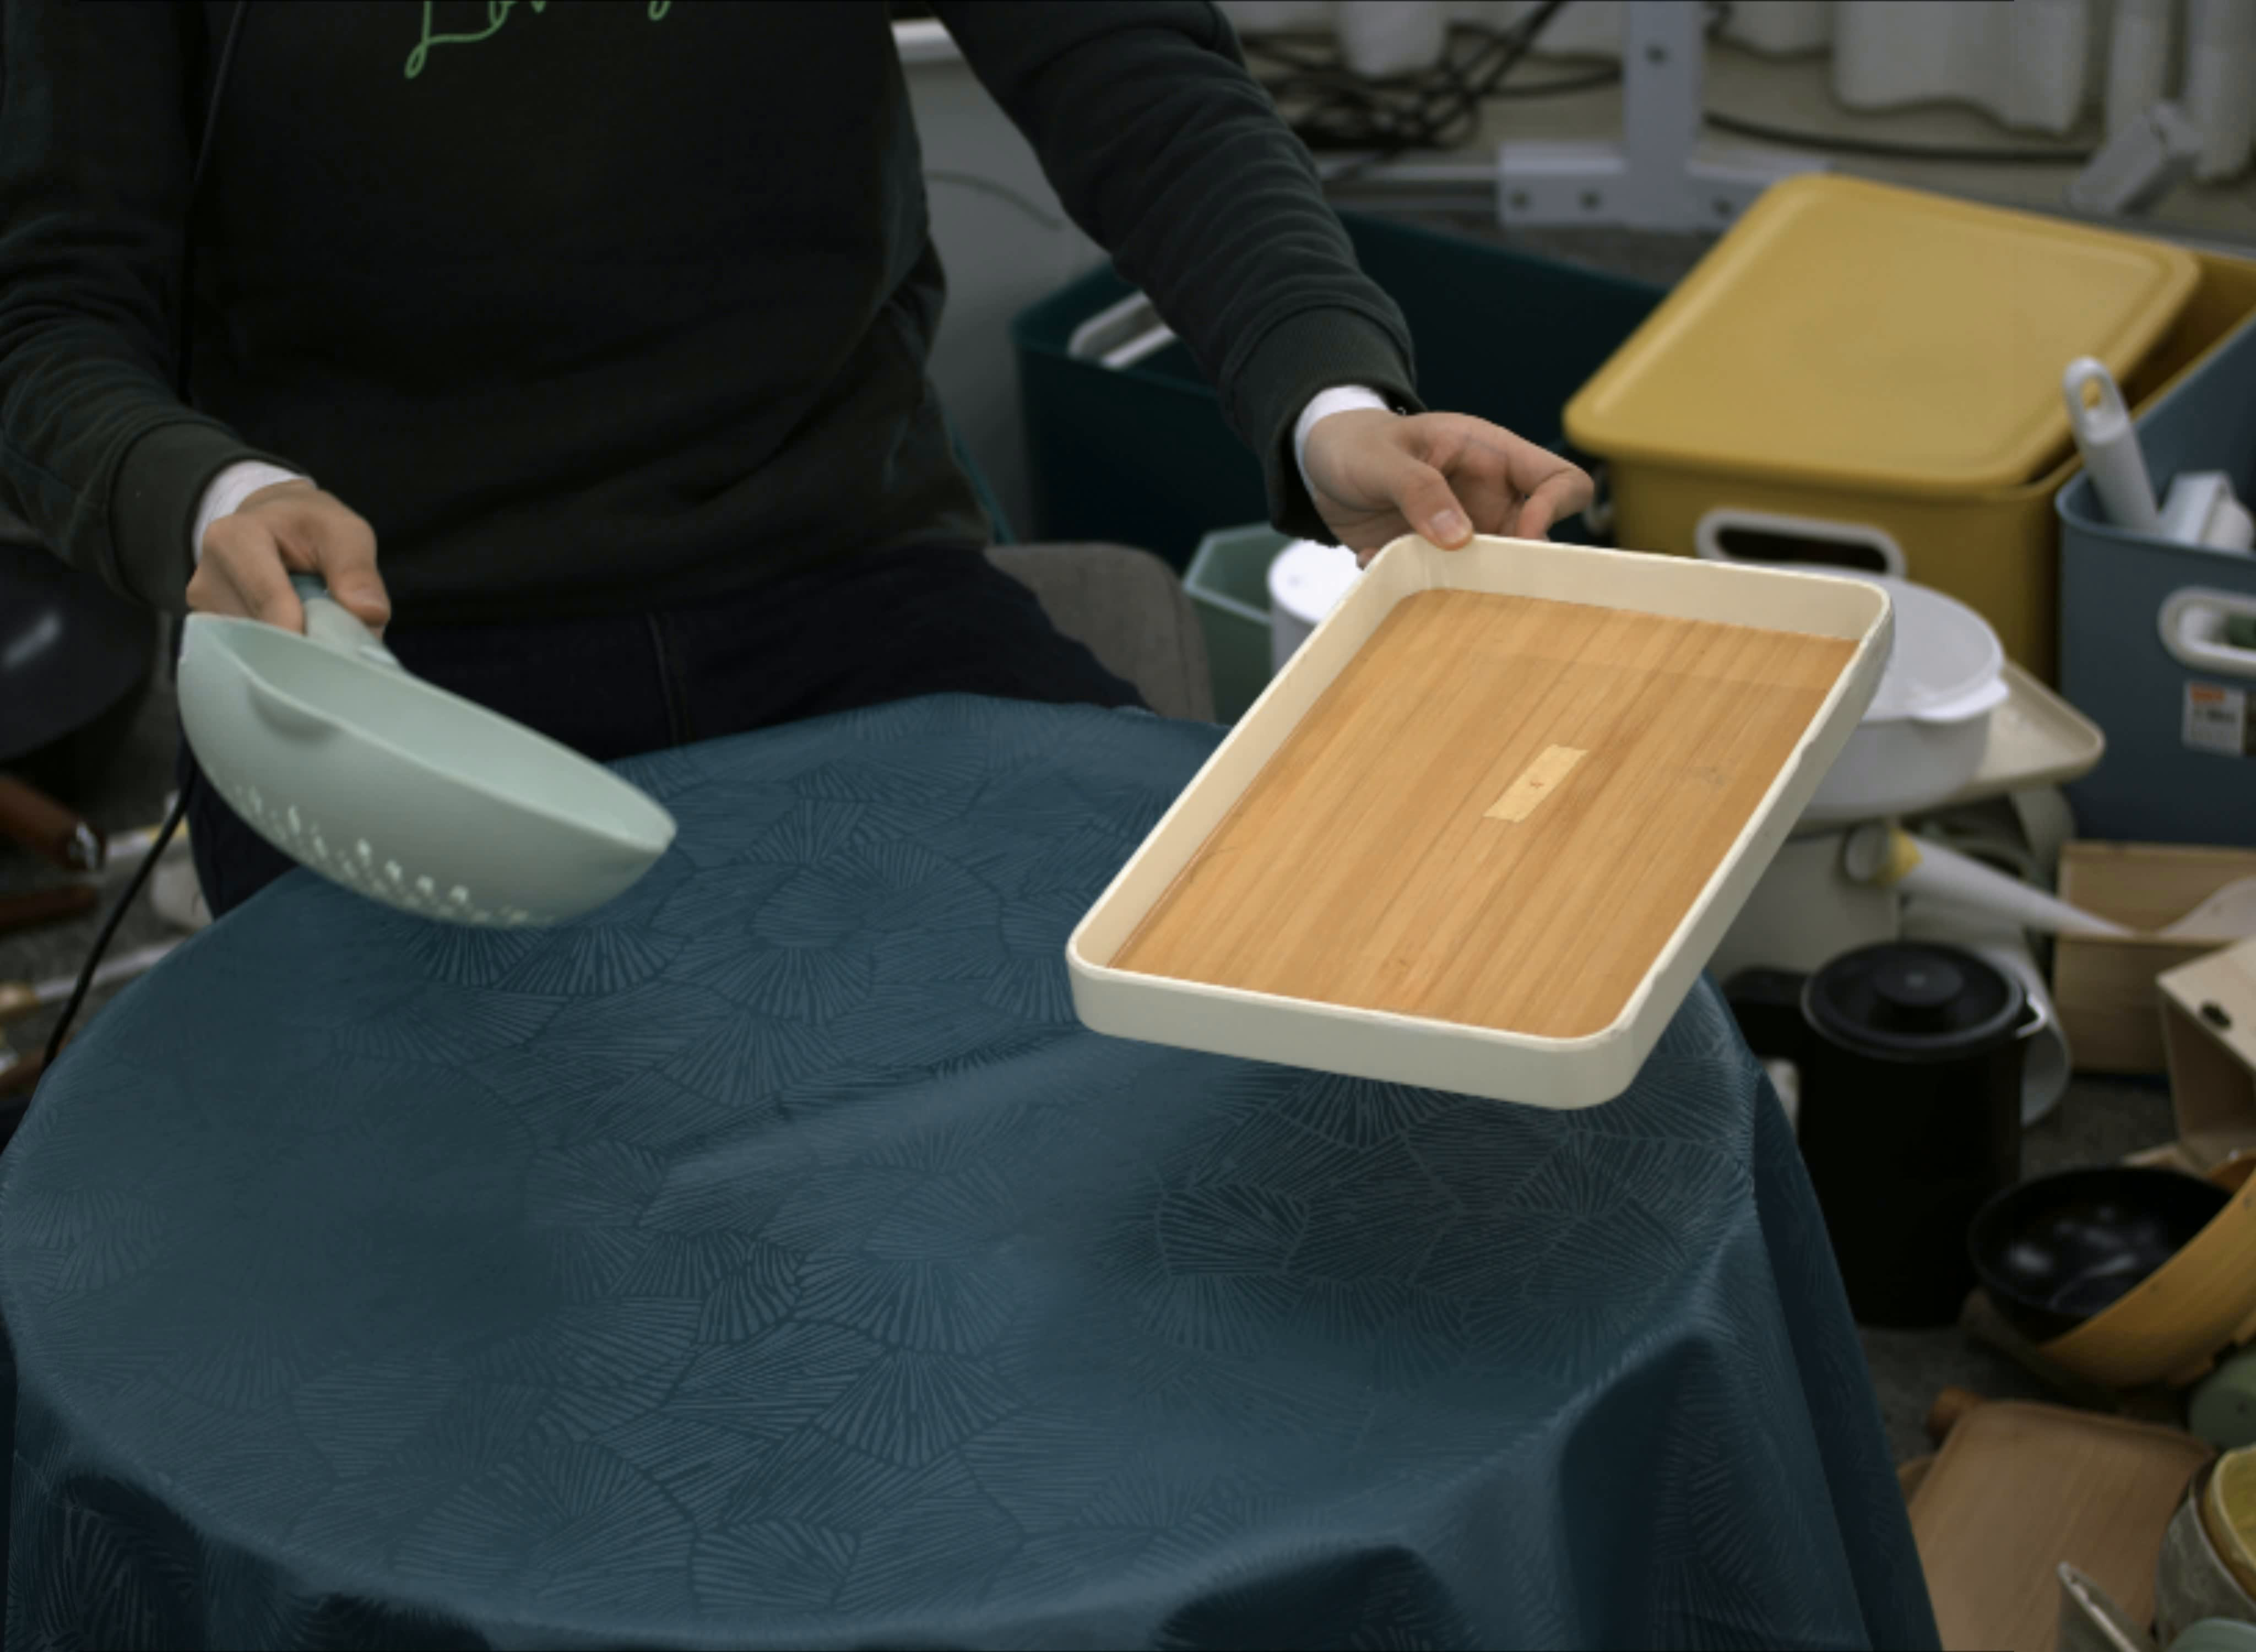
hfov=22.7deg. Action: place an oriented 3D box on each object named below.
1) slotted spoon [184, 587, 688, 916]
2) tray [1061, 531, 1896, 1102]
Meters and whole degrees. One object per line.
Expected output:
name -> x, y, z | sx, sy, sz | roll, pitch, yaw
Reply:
slotted spoon -> -0.251, -0.042, 1.872 | 0.169, 0.075, 0.361 | 24, 11, -21
tray -> 0.121, -0.009, 1.857 | 0.190, 0.027, 0.306 | 8, 33, 24
